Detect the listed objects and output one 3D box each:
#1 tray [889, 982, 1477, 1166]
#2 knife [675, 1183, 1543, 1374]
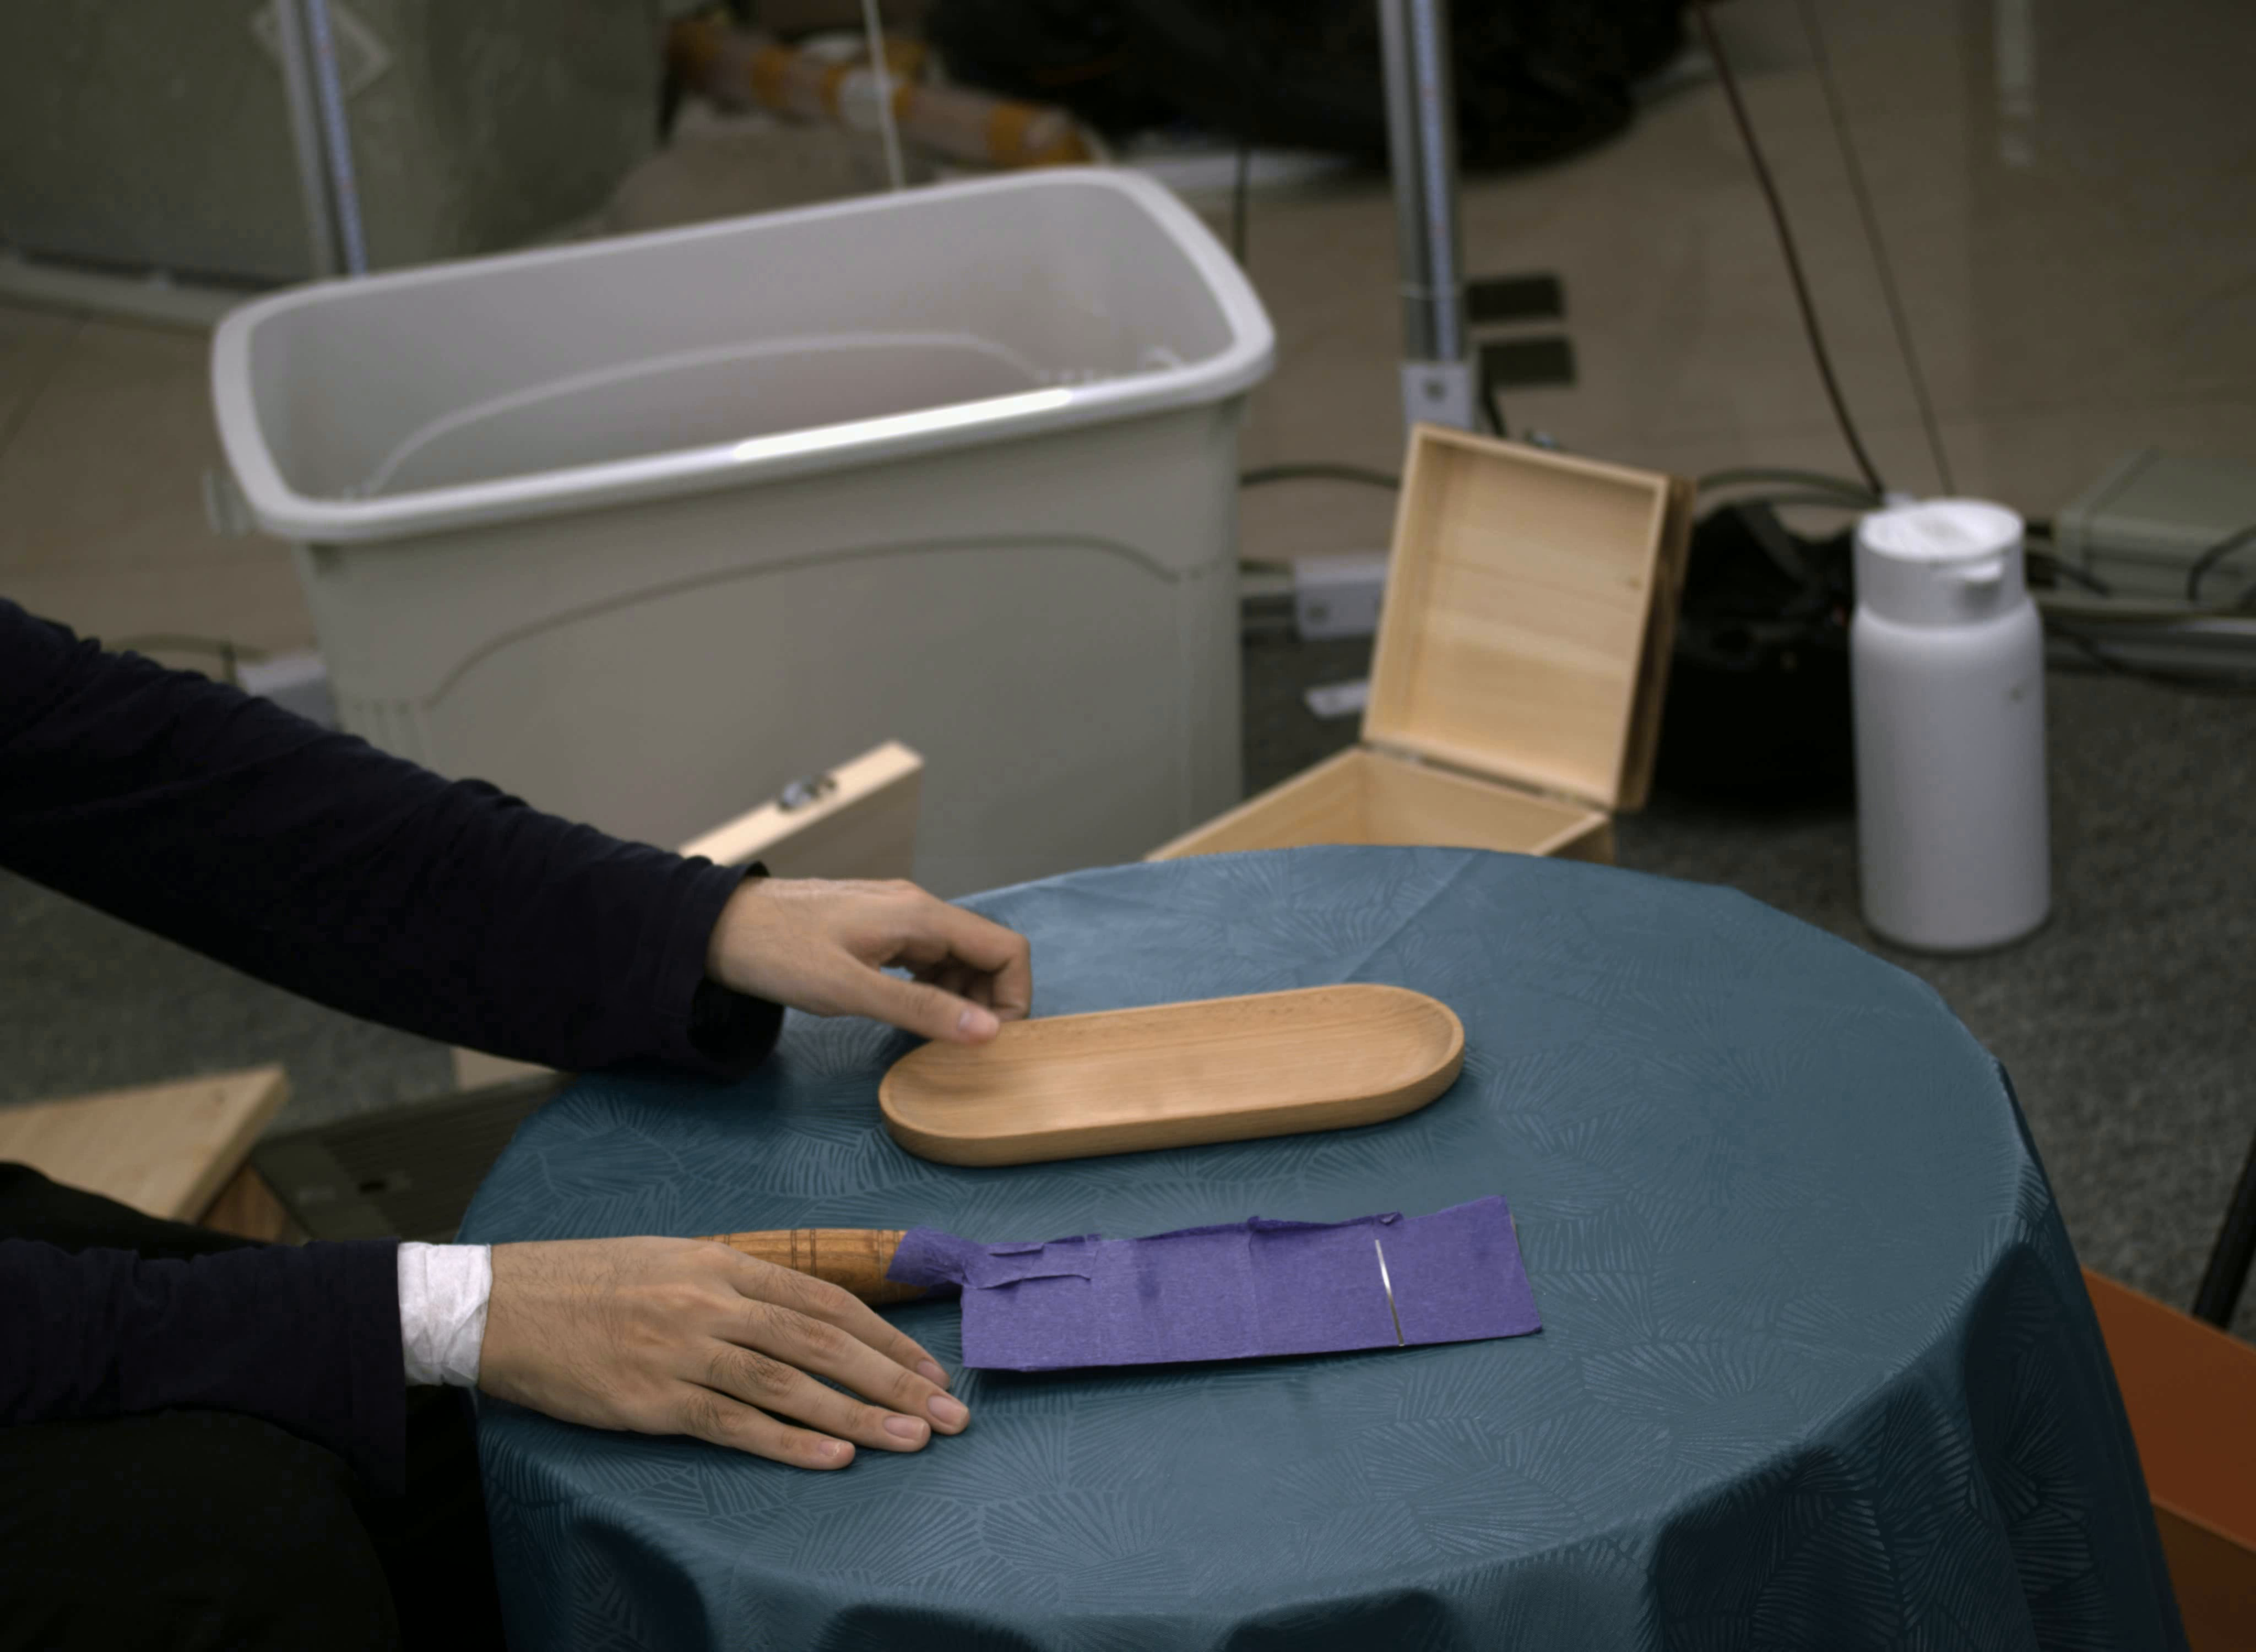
[{"bbox_3d":[0.022,0.097,2.217,0.231,0.020,0.100,-6,25,-1],"label":"tray"},{"bbox_3d":[-0.009,0.167,2.060,0.315,0.033,0.102,-6,24,0],"label":"knife"}]
